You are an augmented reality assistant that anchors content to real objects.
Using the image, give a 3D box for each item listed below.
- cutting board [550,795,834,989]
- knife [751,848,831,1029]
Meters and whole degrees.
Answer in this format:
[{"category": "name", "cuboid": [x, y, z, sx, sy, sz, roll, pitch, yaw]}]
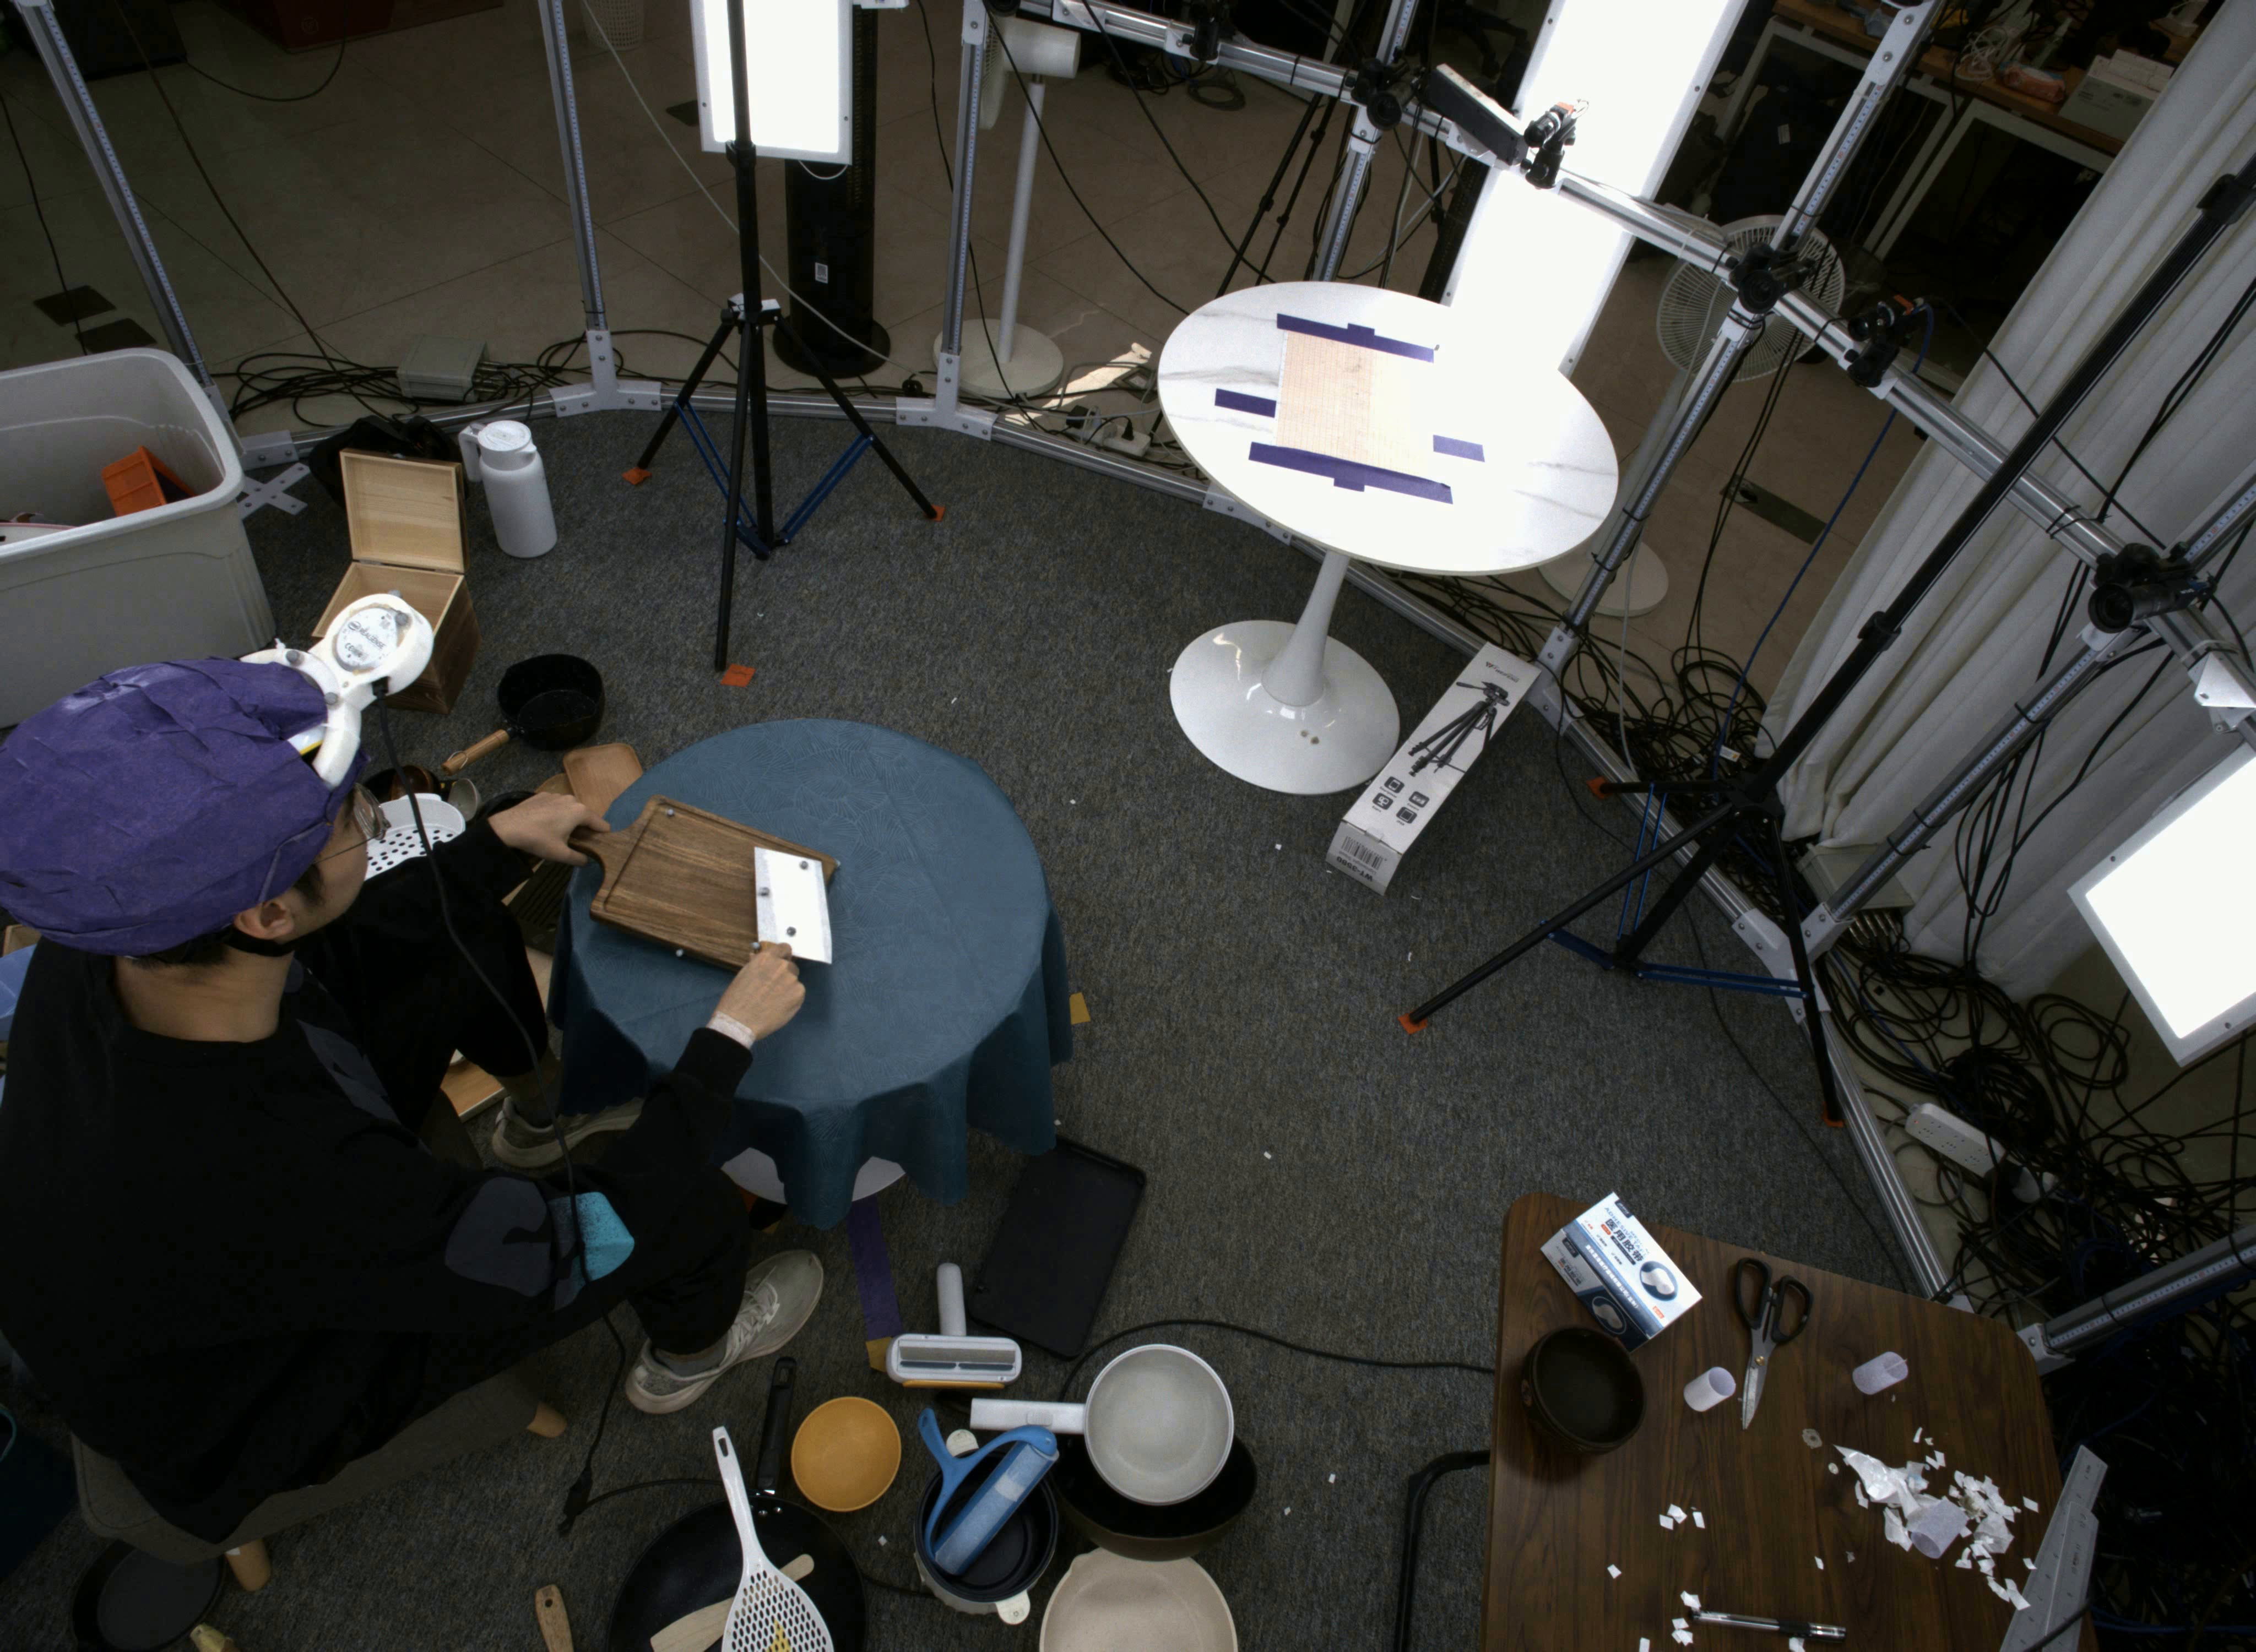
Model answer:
[{"category": "cutting board", "cuboid": [-0.556, 0.060, 1.585, 0.354, 0.023, 0.198, 20, 51, -11]}, {"category": "knife", "cuboid": [-0.394, 0.125, 1.515, 0.095, 0.021, 0.296, 16, 32, -29]}]
